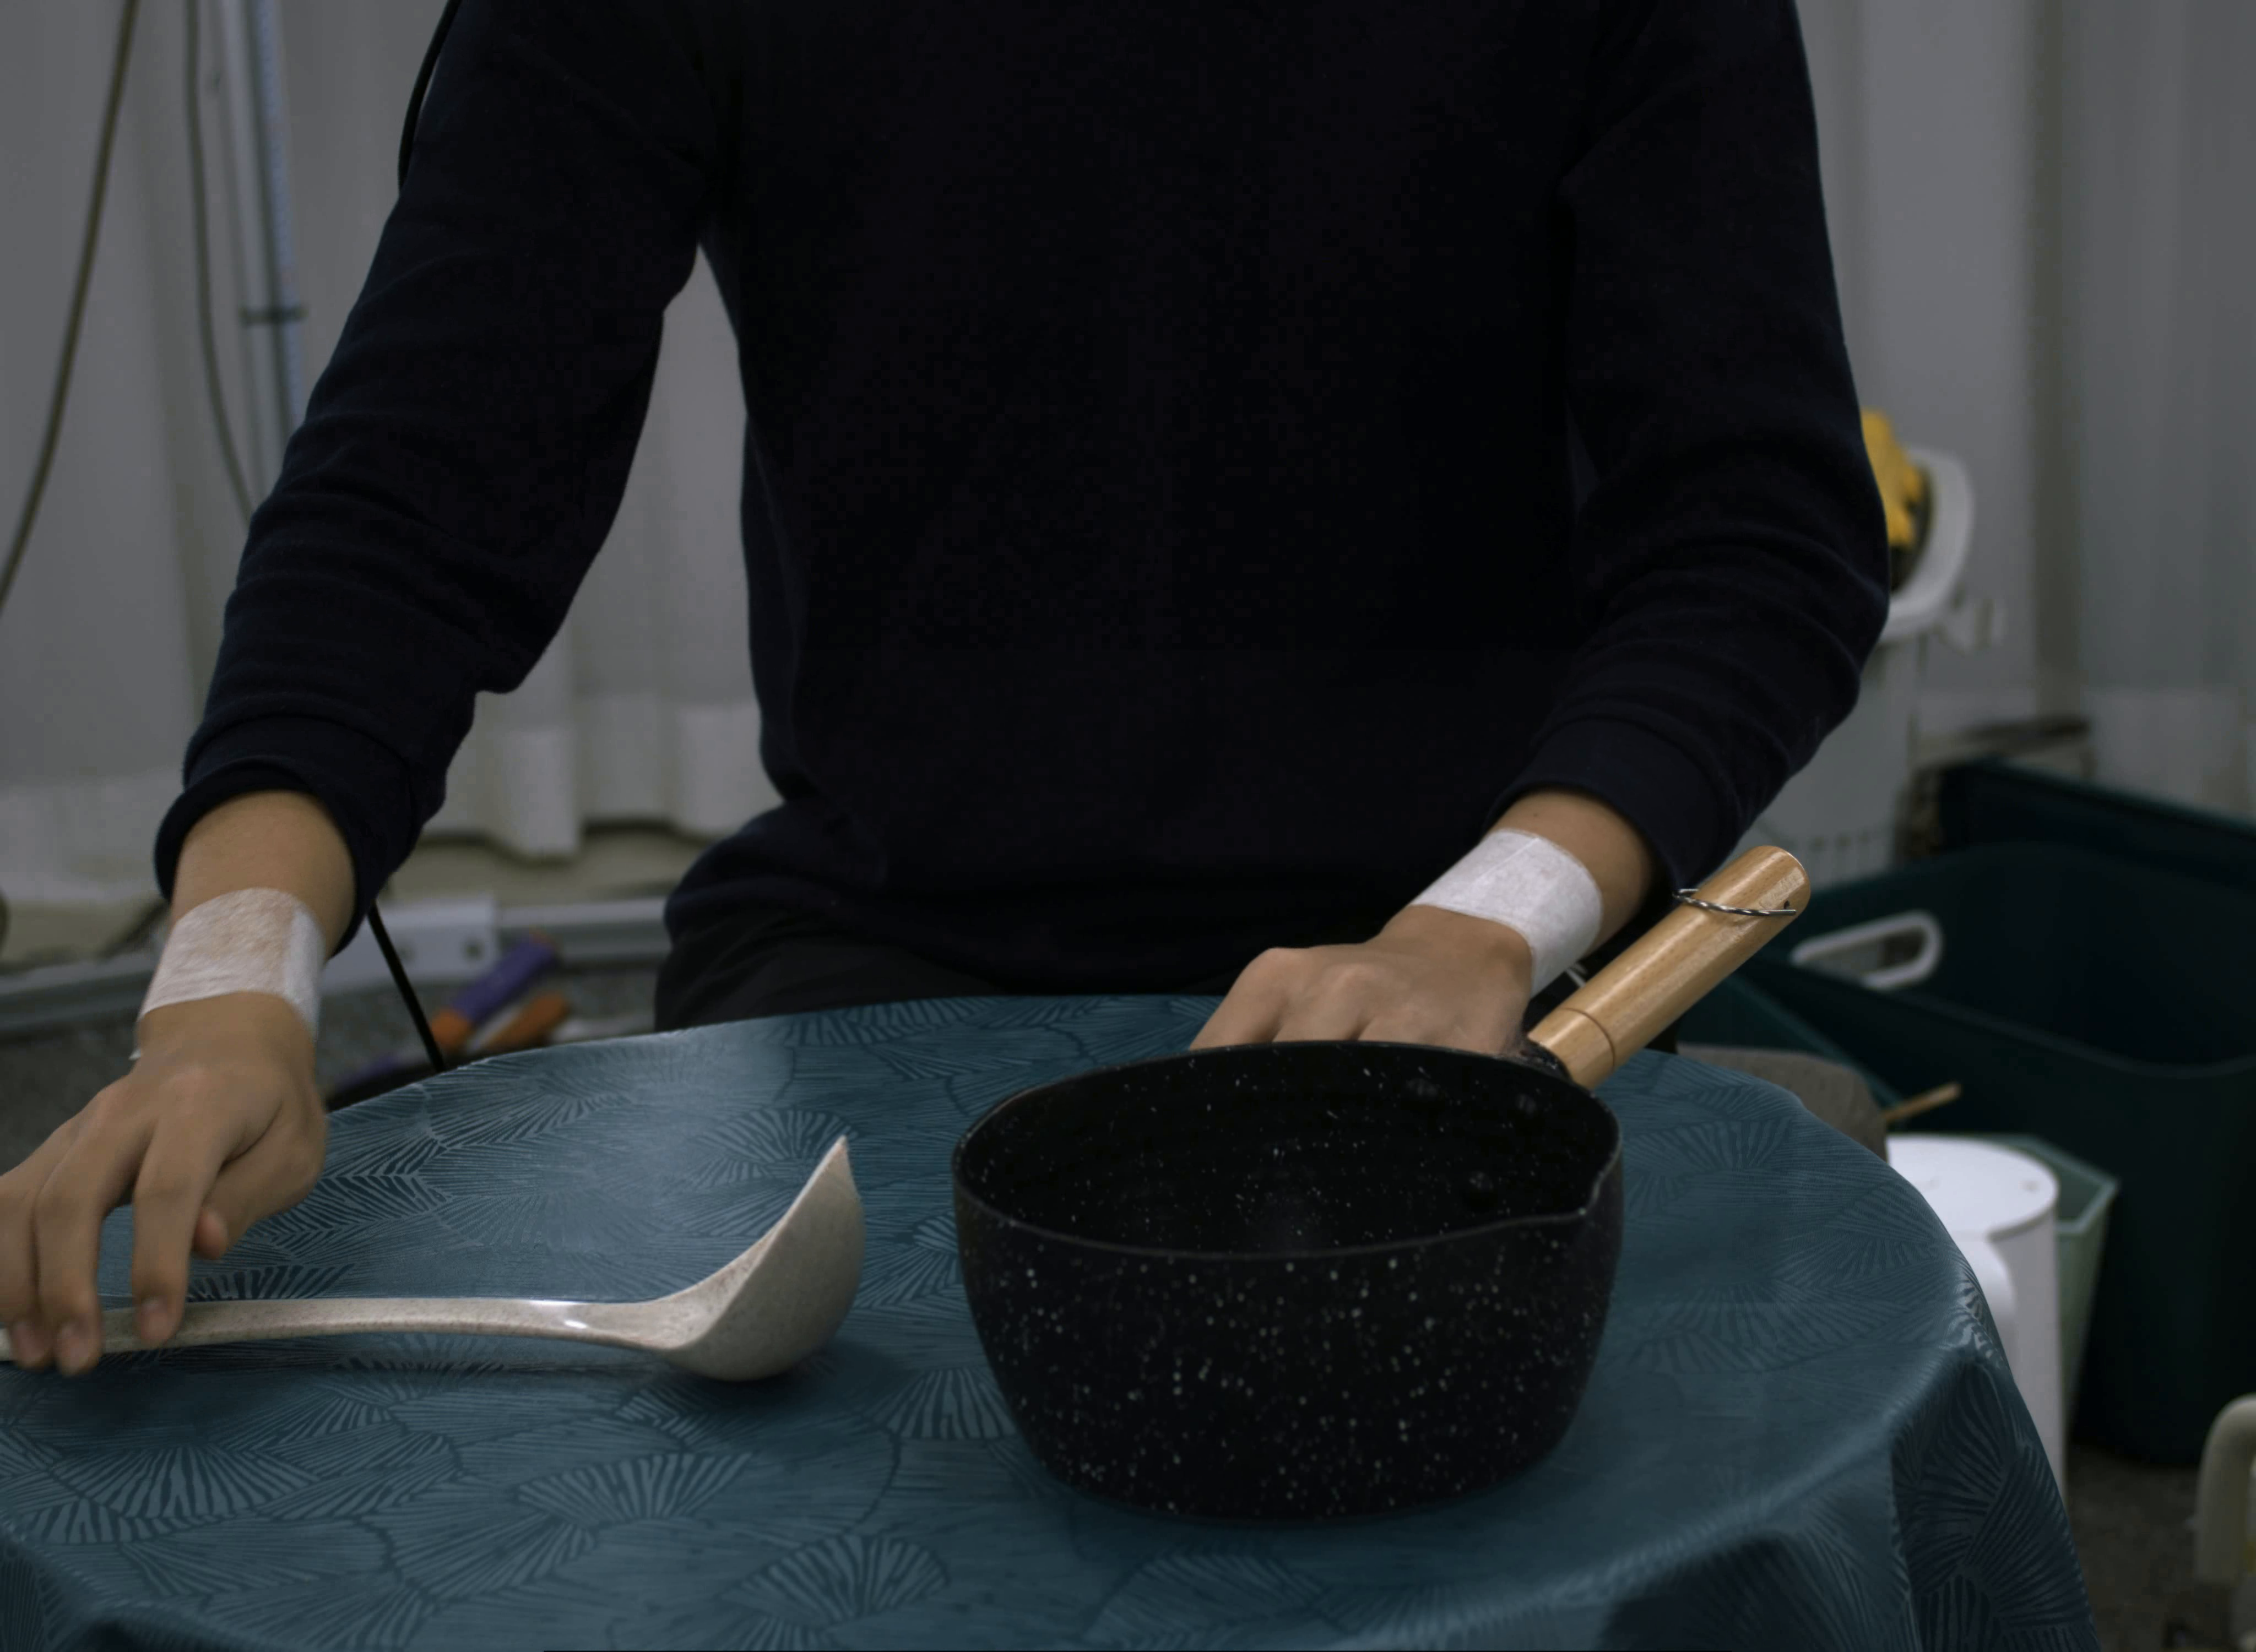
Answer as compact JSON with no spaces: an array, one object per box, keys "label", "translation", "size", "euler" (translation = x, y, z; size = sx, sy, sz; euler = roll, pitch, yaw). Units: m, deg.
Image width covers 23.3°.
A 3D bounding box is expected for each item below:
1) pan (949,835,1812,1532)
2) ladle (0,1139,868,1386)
[{"label":"pan","translation":[0.094,0.096,1.558],"size":[0.208,0.108,0.343],"euler":[8,20,38]},{"label":"ladle","translation":[-0.210,0.124,1.588],"size":[0.274,0.069,0.090],"euler":[0,21,11]}]
